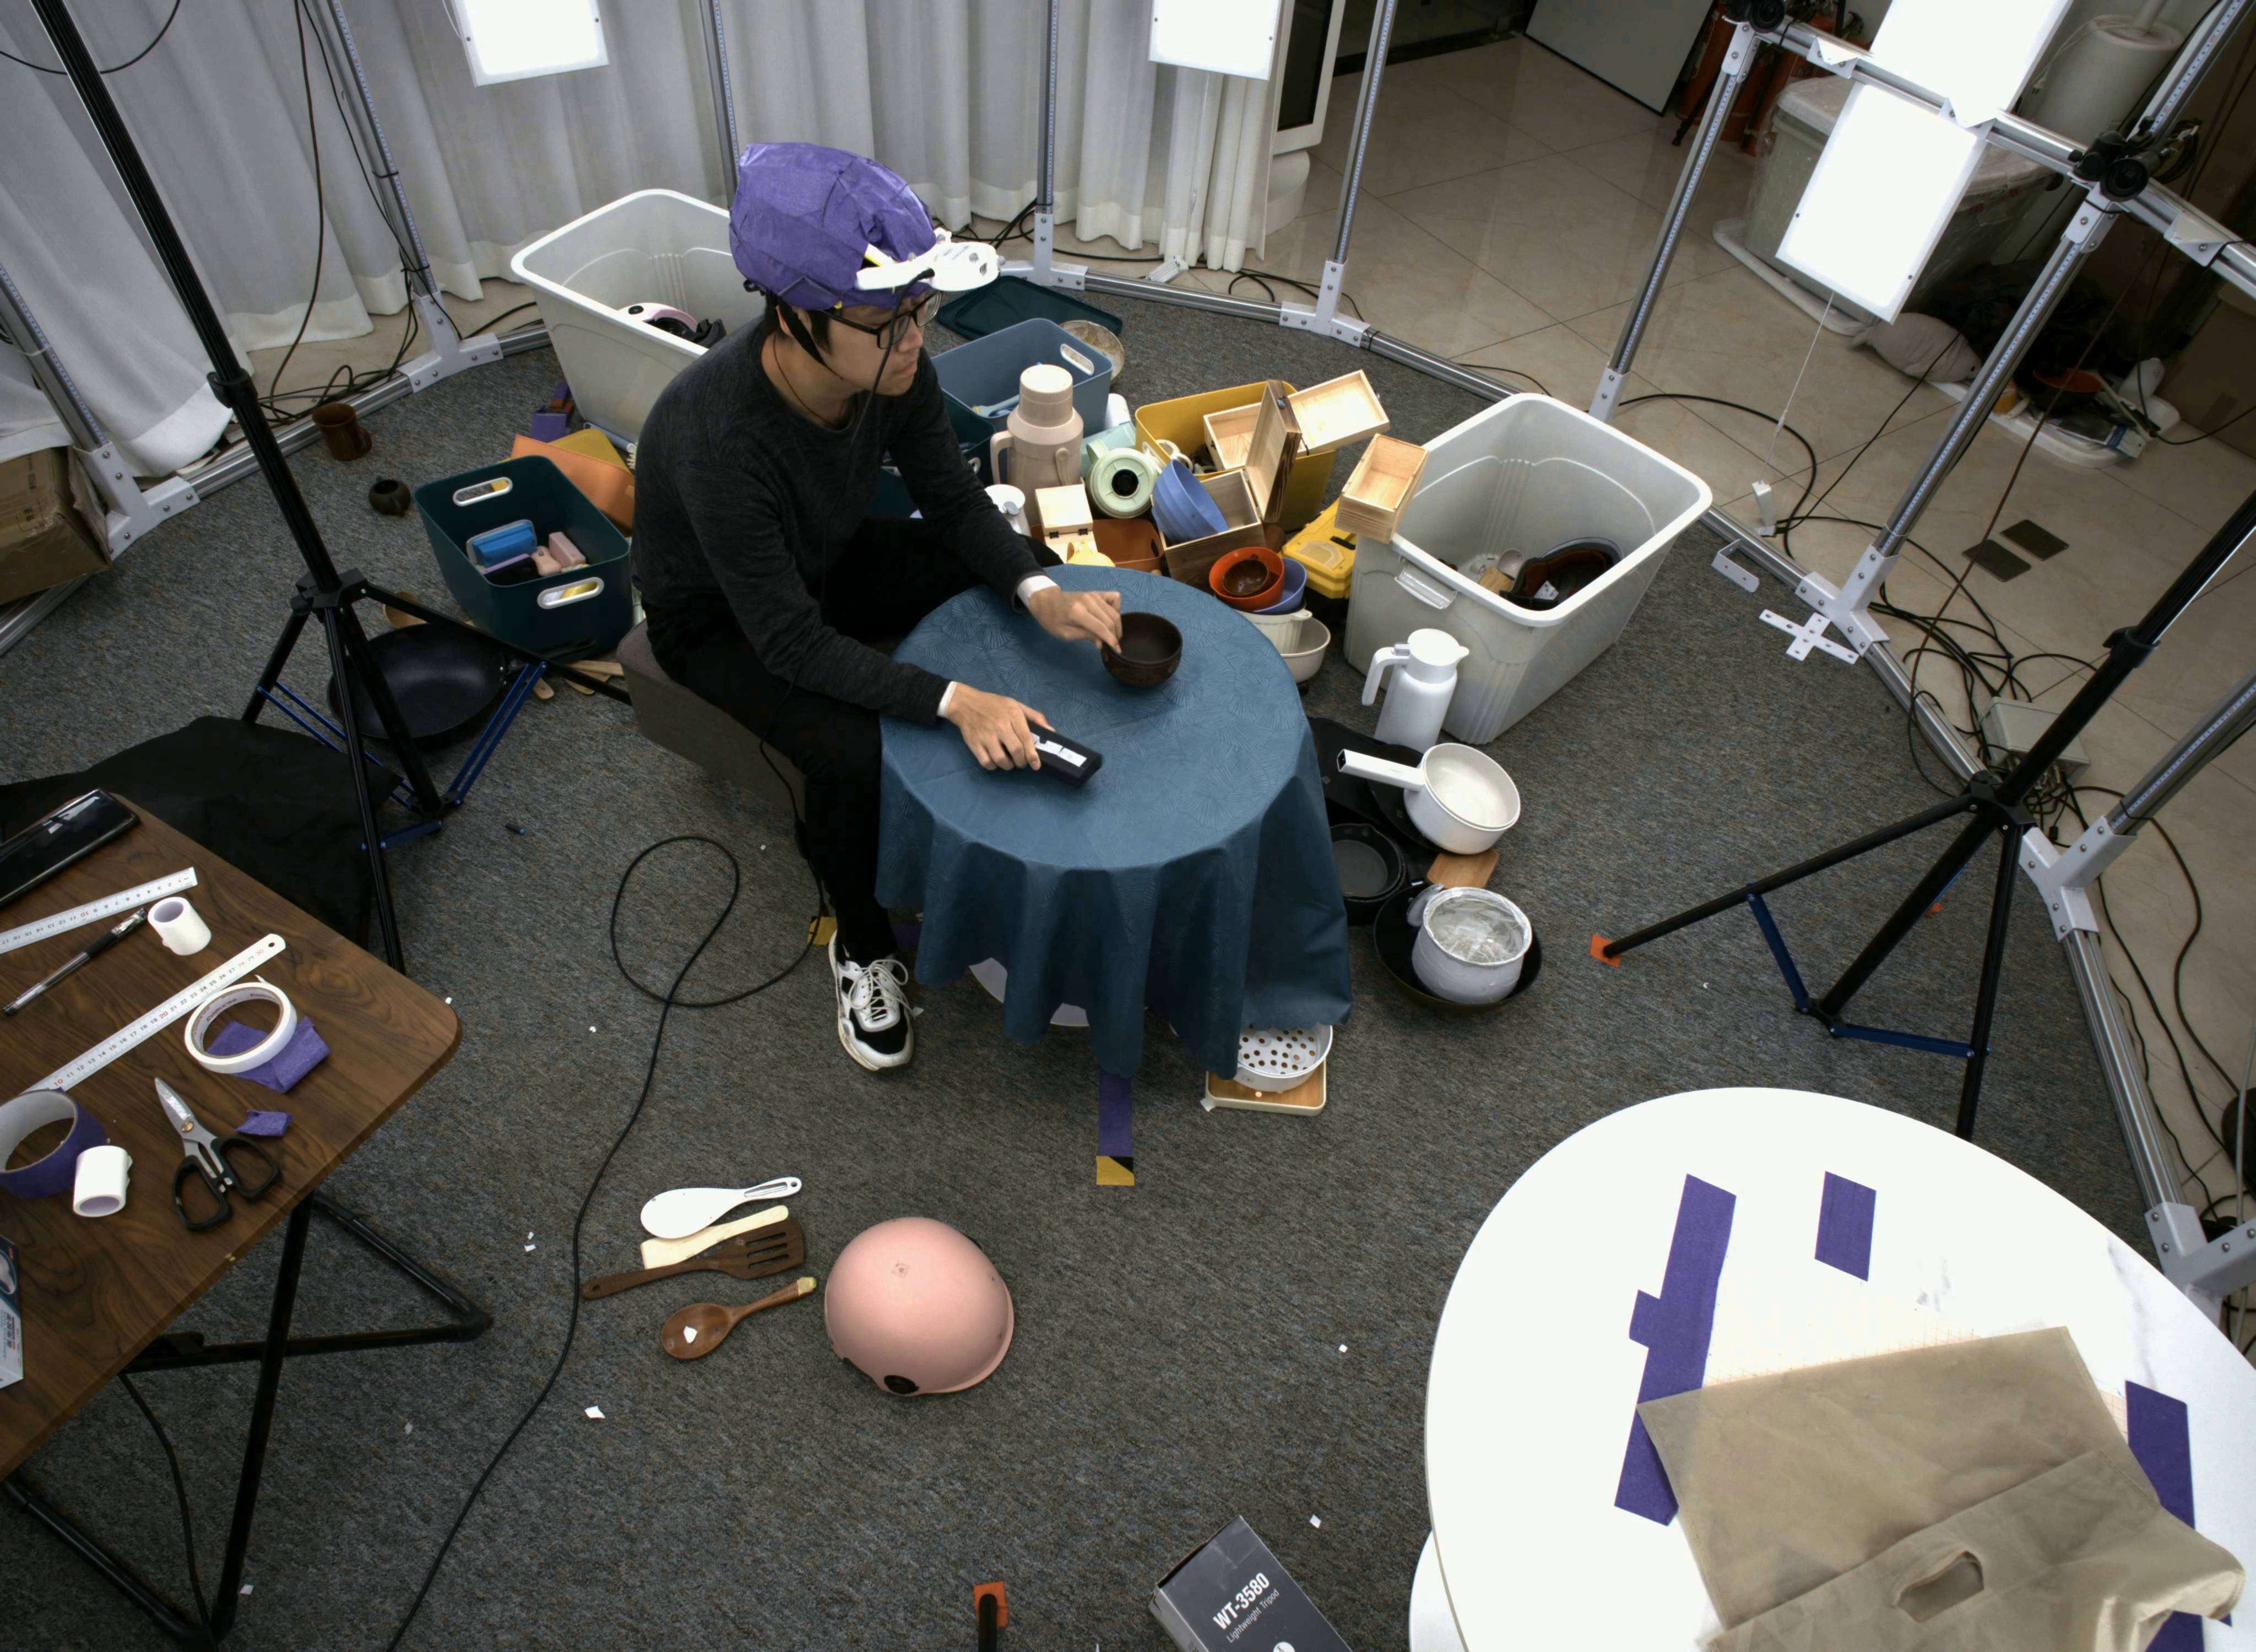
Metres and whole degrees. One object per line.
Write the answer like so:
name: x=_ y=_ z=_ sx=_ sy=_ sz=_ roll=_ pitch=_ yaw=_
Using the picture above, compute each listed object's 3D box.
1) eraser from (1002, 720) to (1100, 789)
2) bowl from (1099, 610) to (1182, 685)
eraser: x=-0.101 y=-0.096 z=1.703 sx=0.126 sy=0.030 sz=0.054 roll=24 pitch=58 yaw=20
bowl: x=0.016 y=-0.246 z=1.835 sx=0.118 sy=0.068 sz=0.121 roll=4 pitch=44 yaw=-4
